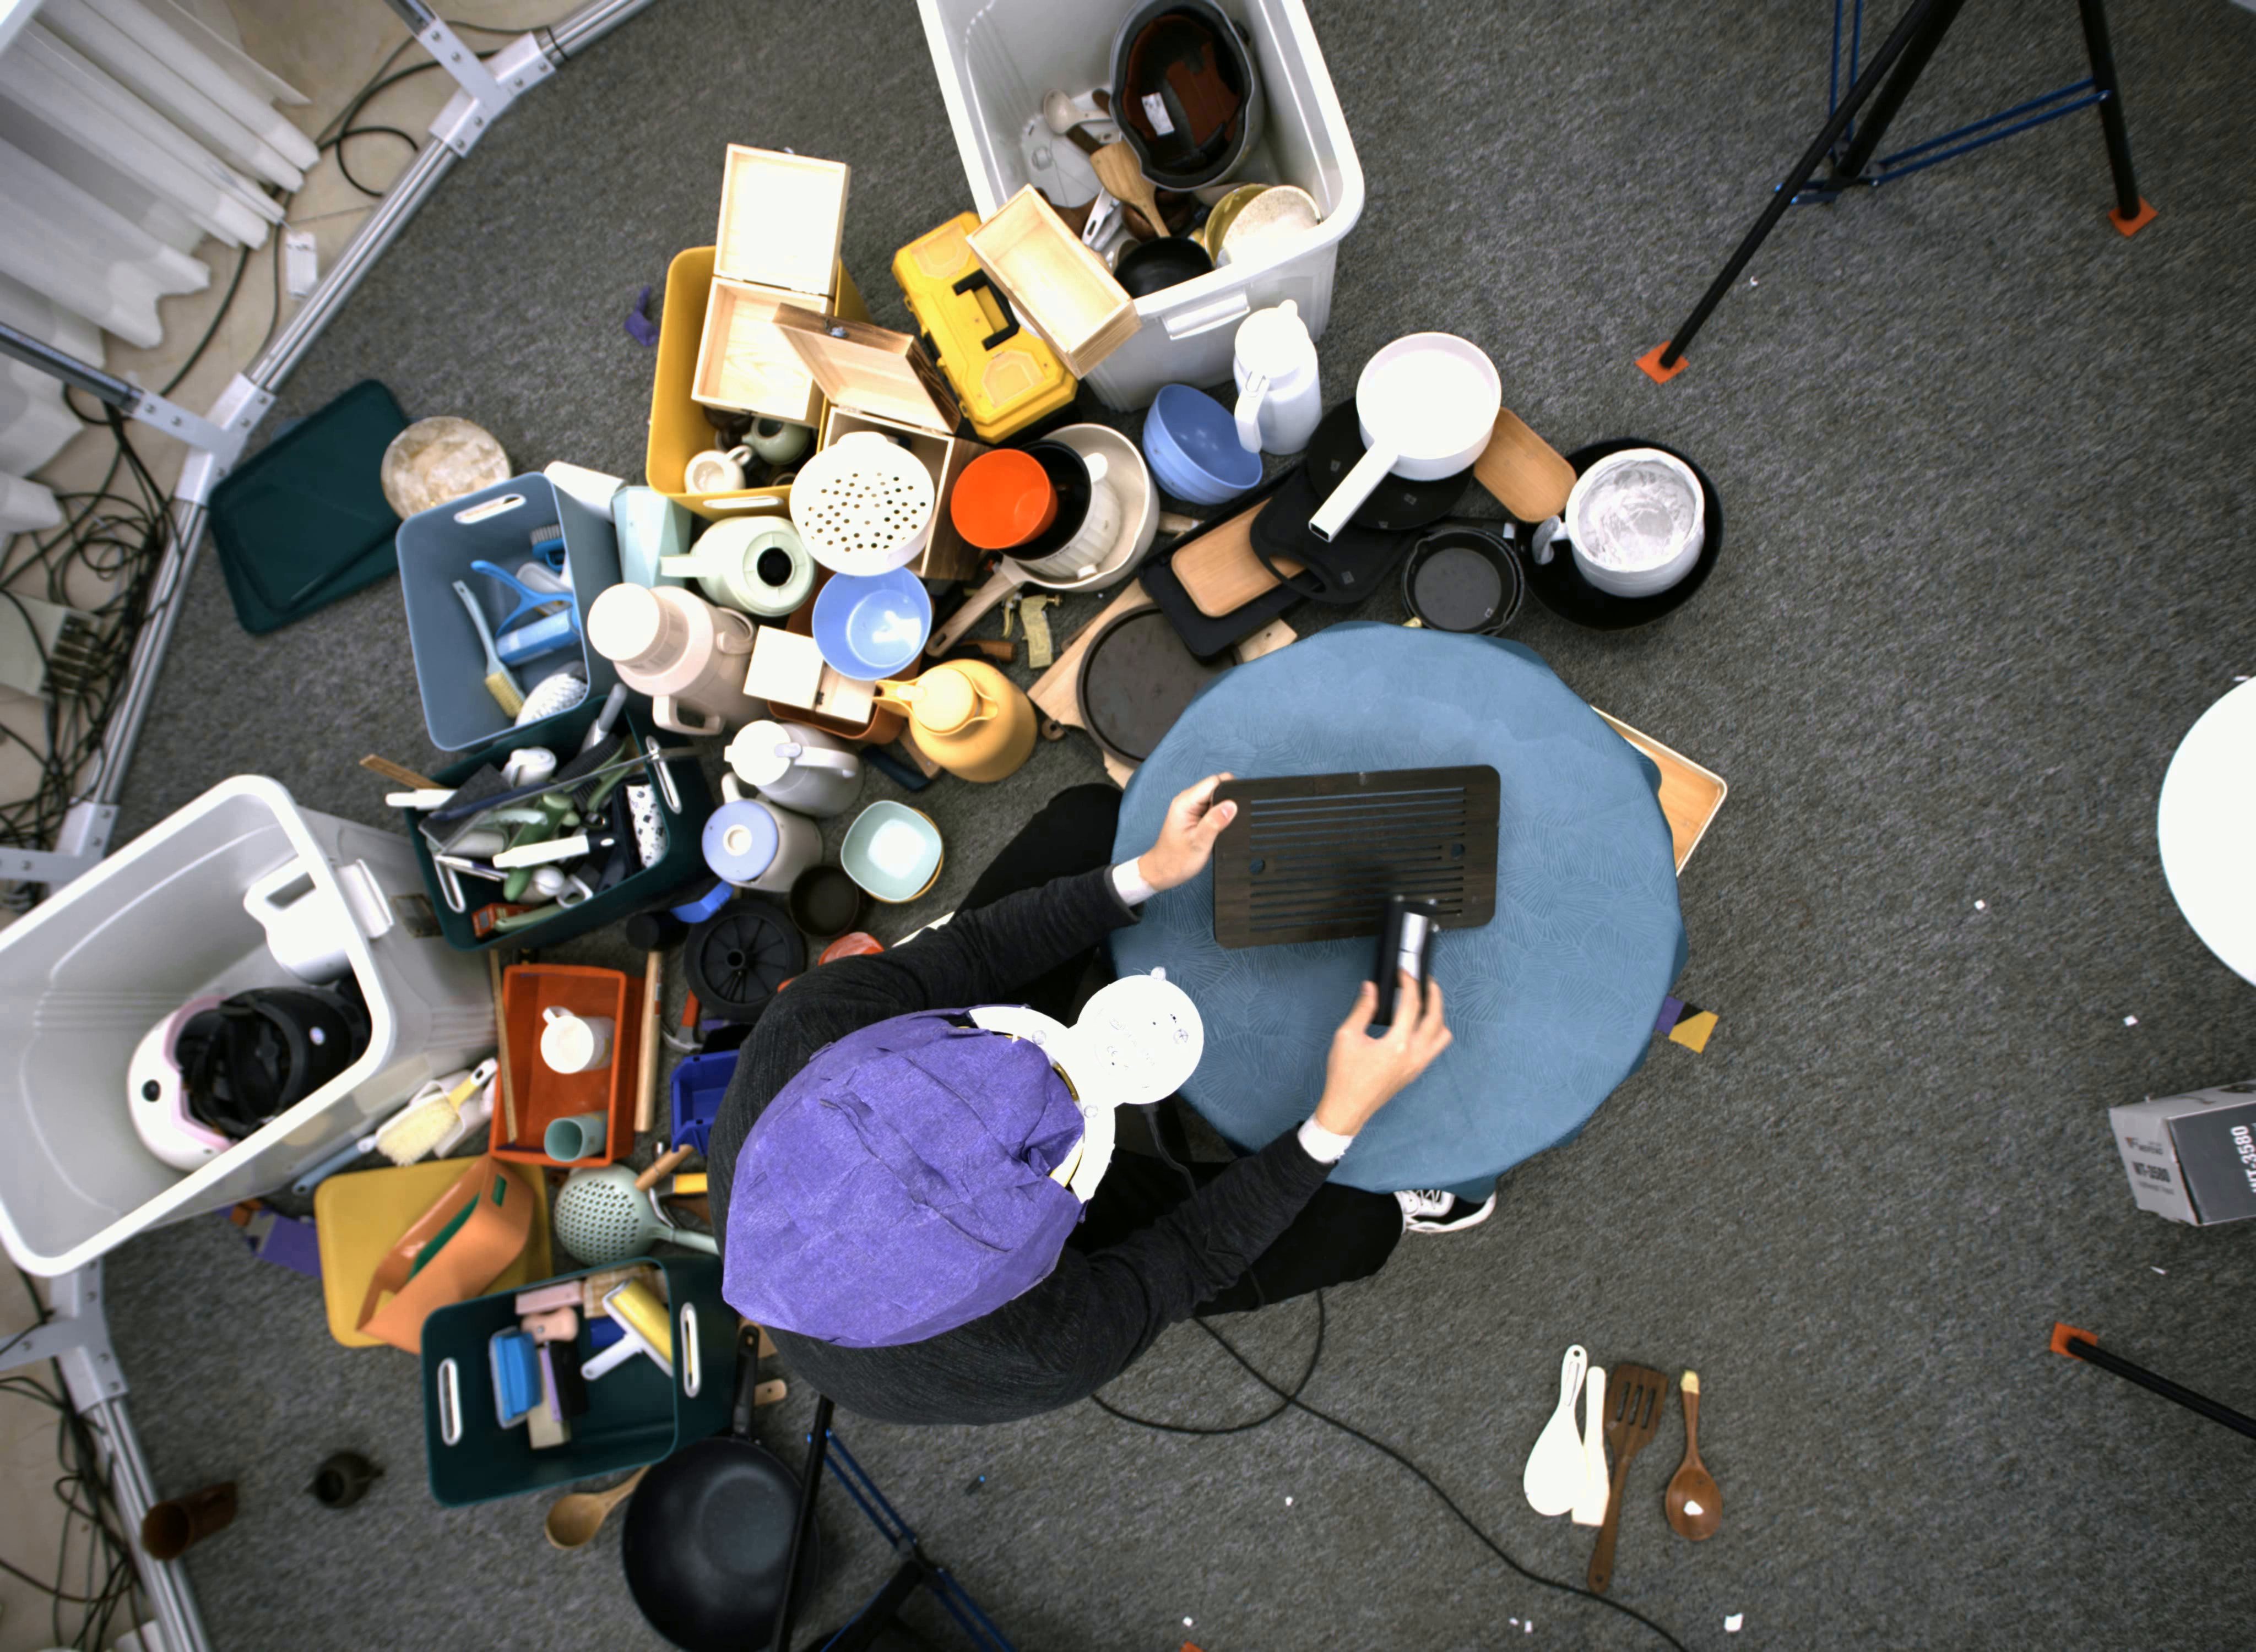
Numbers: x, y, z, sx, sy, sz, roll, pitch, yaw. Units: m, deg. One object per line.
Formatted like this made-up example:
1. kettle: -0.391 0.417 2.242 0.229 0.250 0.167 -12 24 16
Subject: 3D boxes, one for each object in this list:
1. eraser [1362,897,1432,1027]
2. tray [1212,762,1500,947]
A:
1. eraser: 0.263 0.131 1.355 0.053 0.030 0.126 5 95 -12
2. tray: 0.229 0.025 1.383 0.305 0.018 0.172 -4 105 -13
